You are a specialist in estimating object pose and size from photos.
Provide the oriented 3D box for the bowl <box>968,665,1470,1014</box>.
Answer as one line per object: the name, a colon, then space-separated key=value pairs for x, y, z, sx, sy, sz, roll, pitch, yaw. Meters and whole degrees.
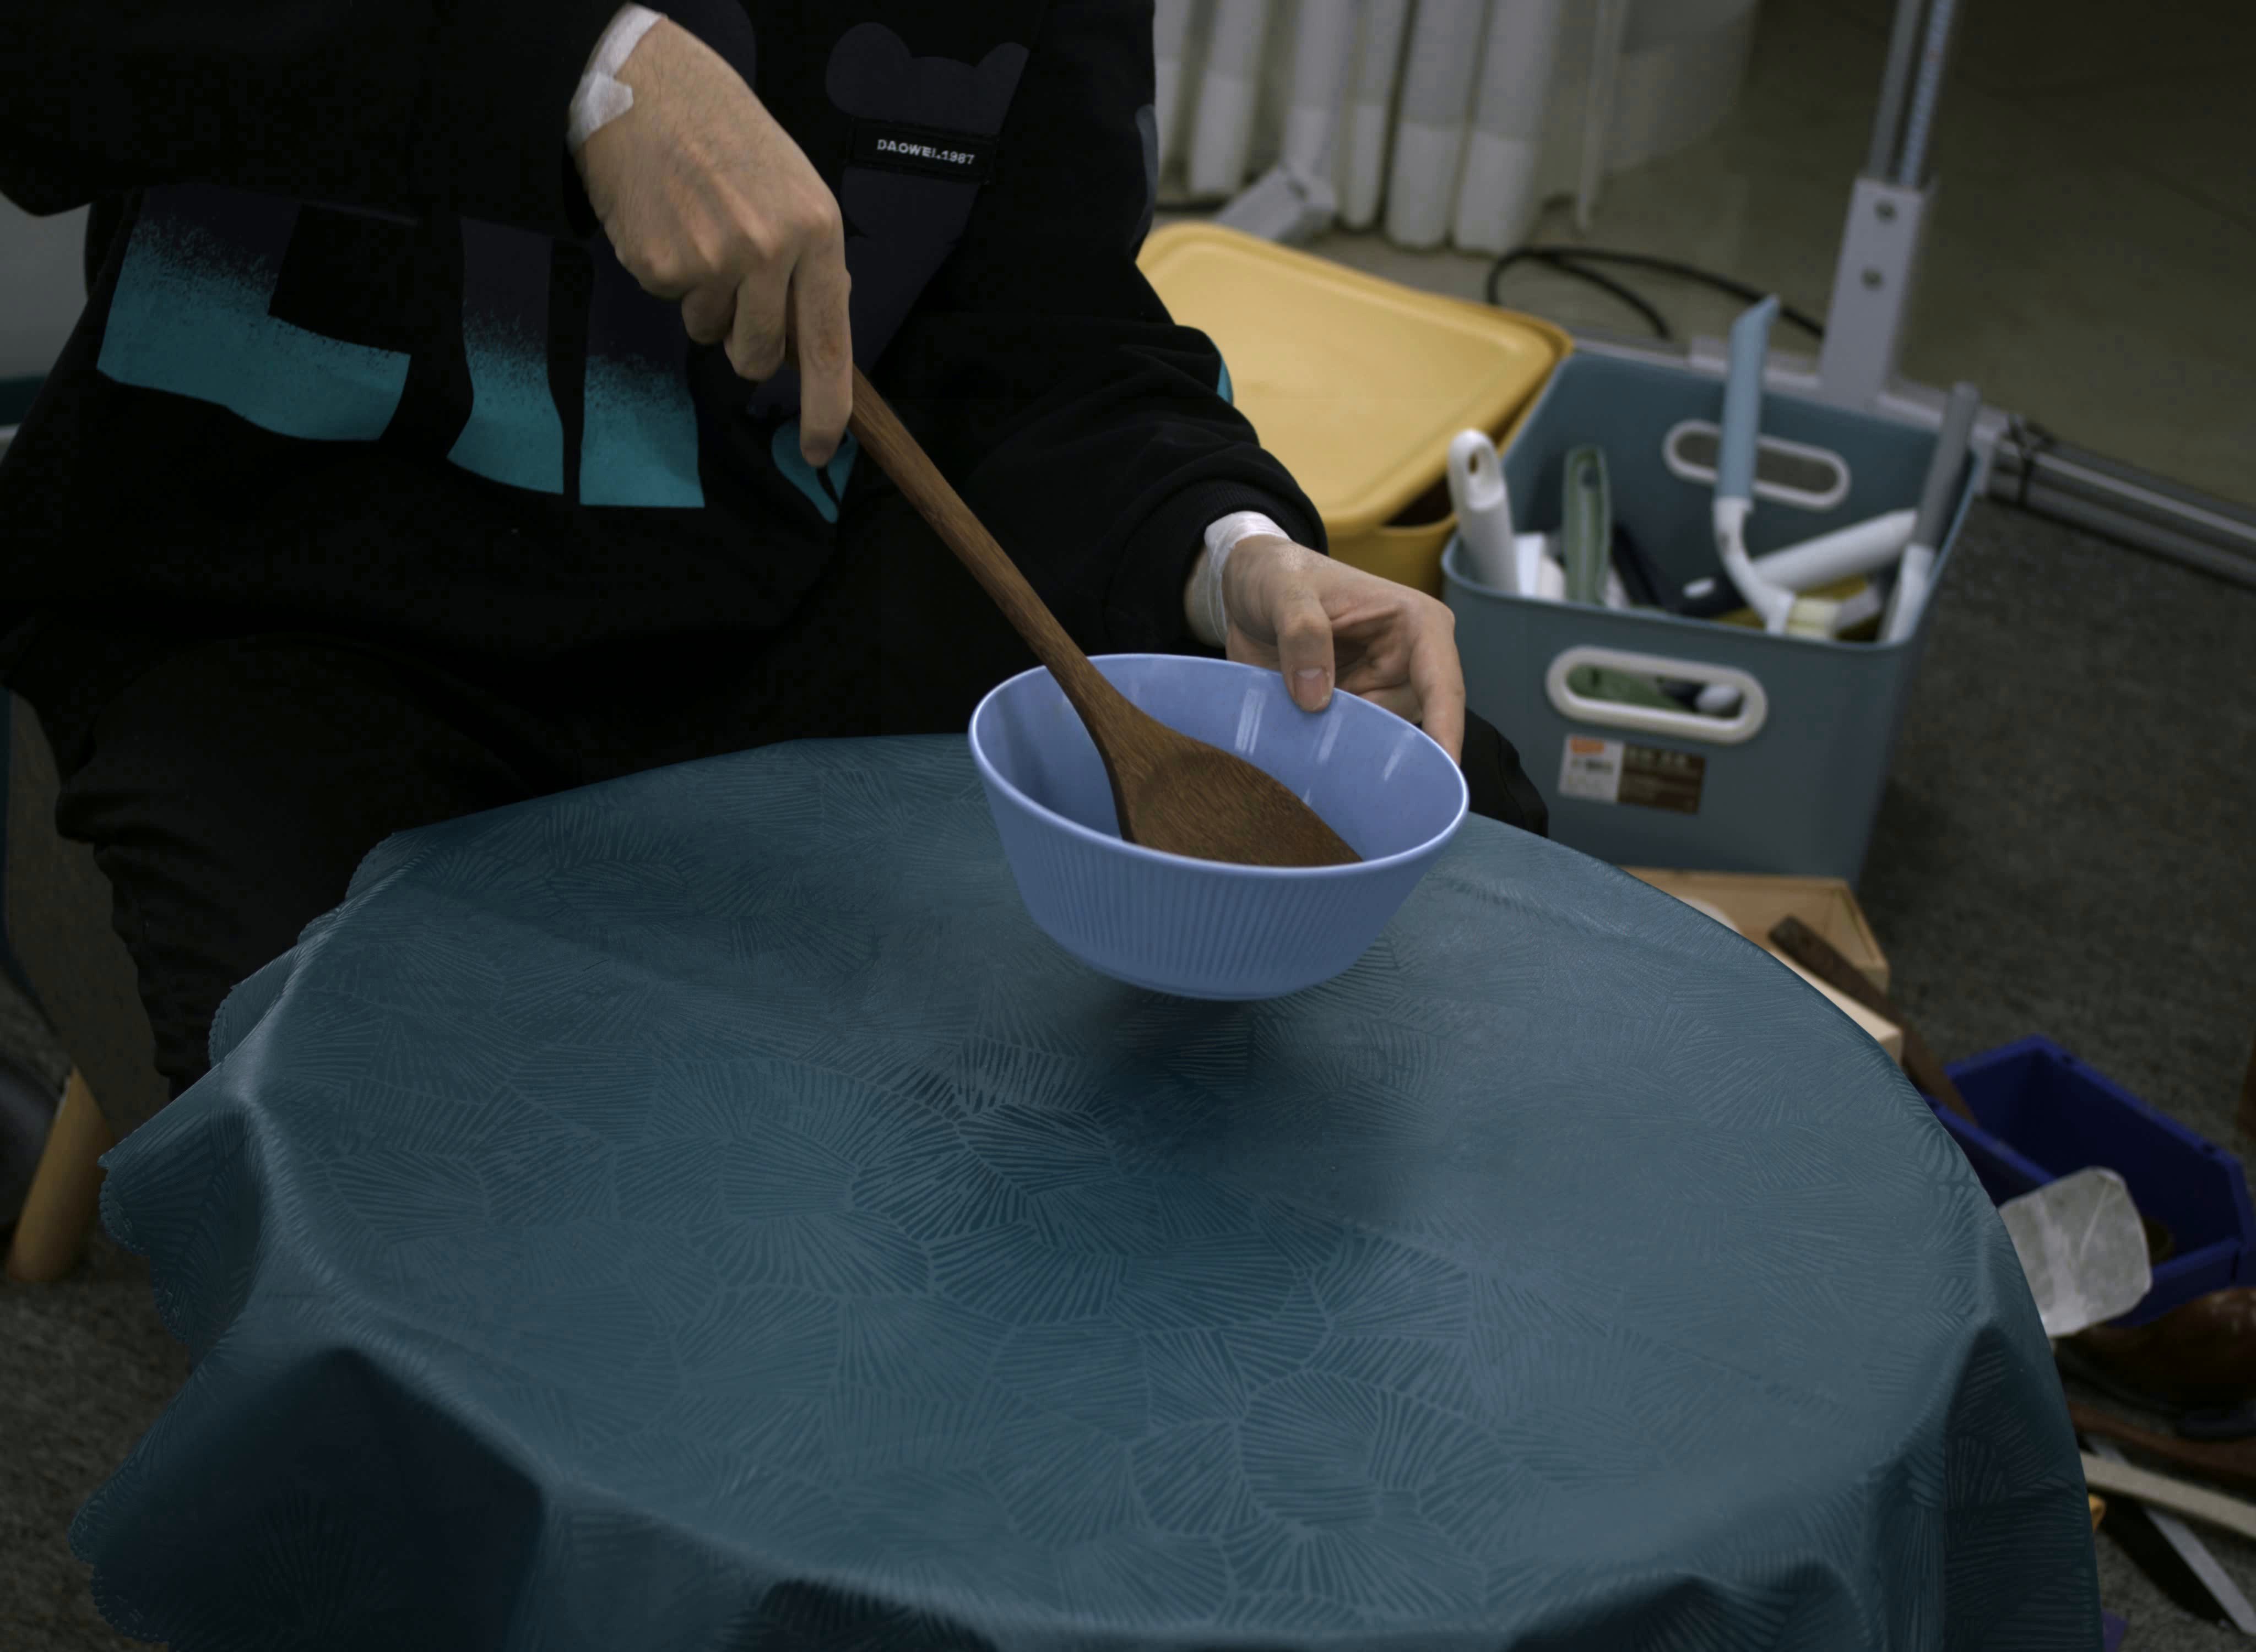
bowl: x=0.029 y=0.010 z=1.861 sx=0.175 sy=0.070 sz=0.177 roll=4 pitch=27 yaw=-2

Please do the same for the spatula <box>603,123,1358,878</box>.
spatula: x=-0.056 y=-0.100 z=1.865 sx=0.386 sy=0.016 sz=0.096 roll=50 pitch=39 yaw=2
